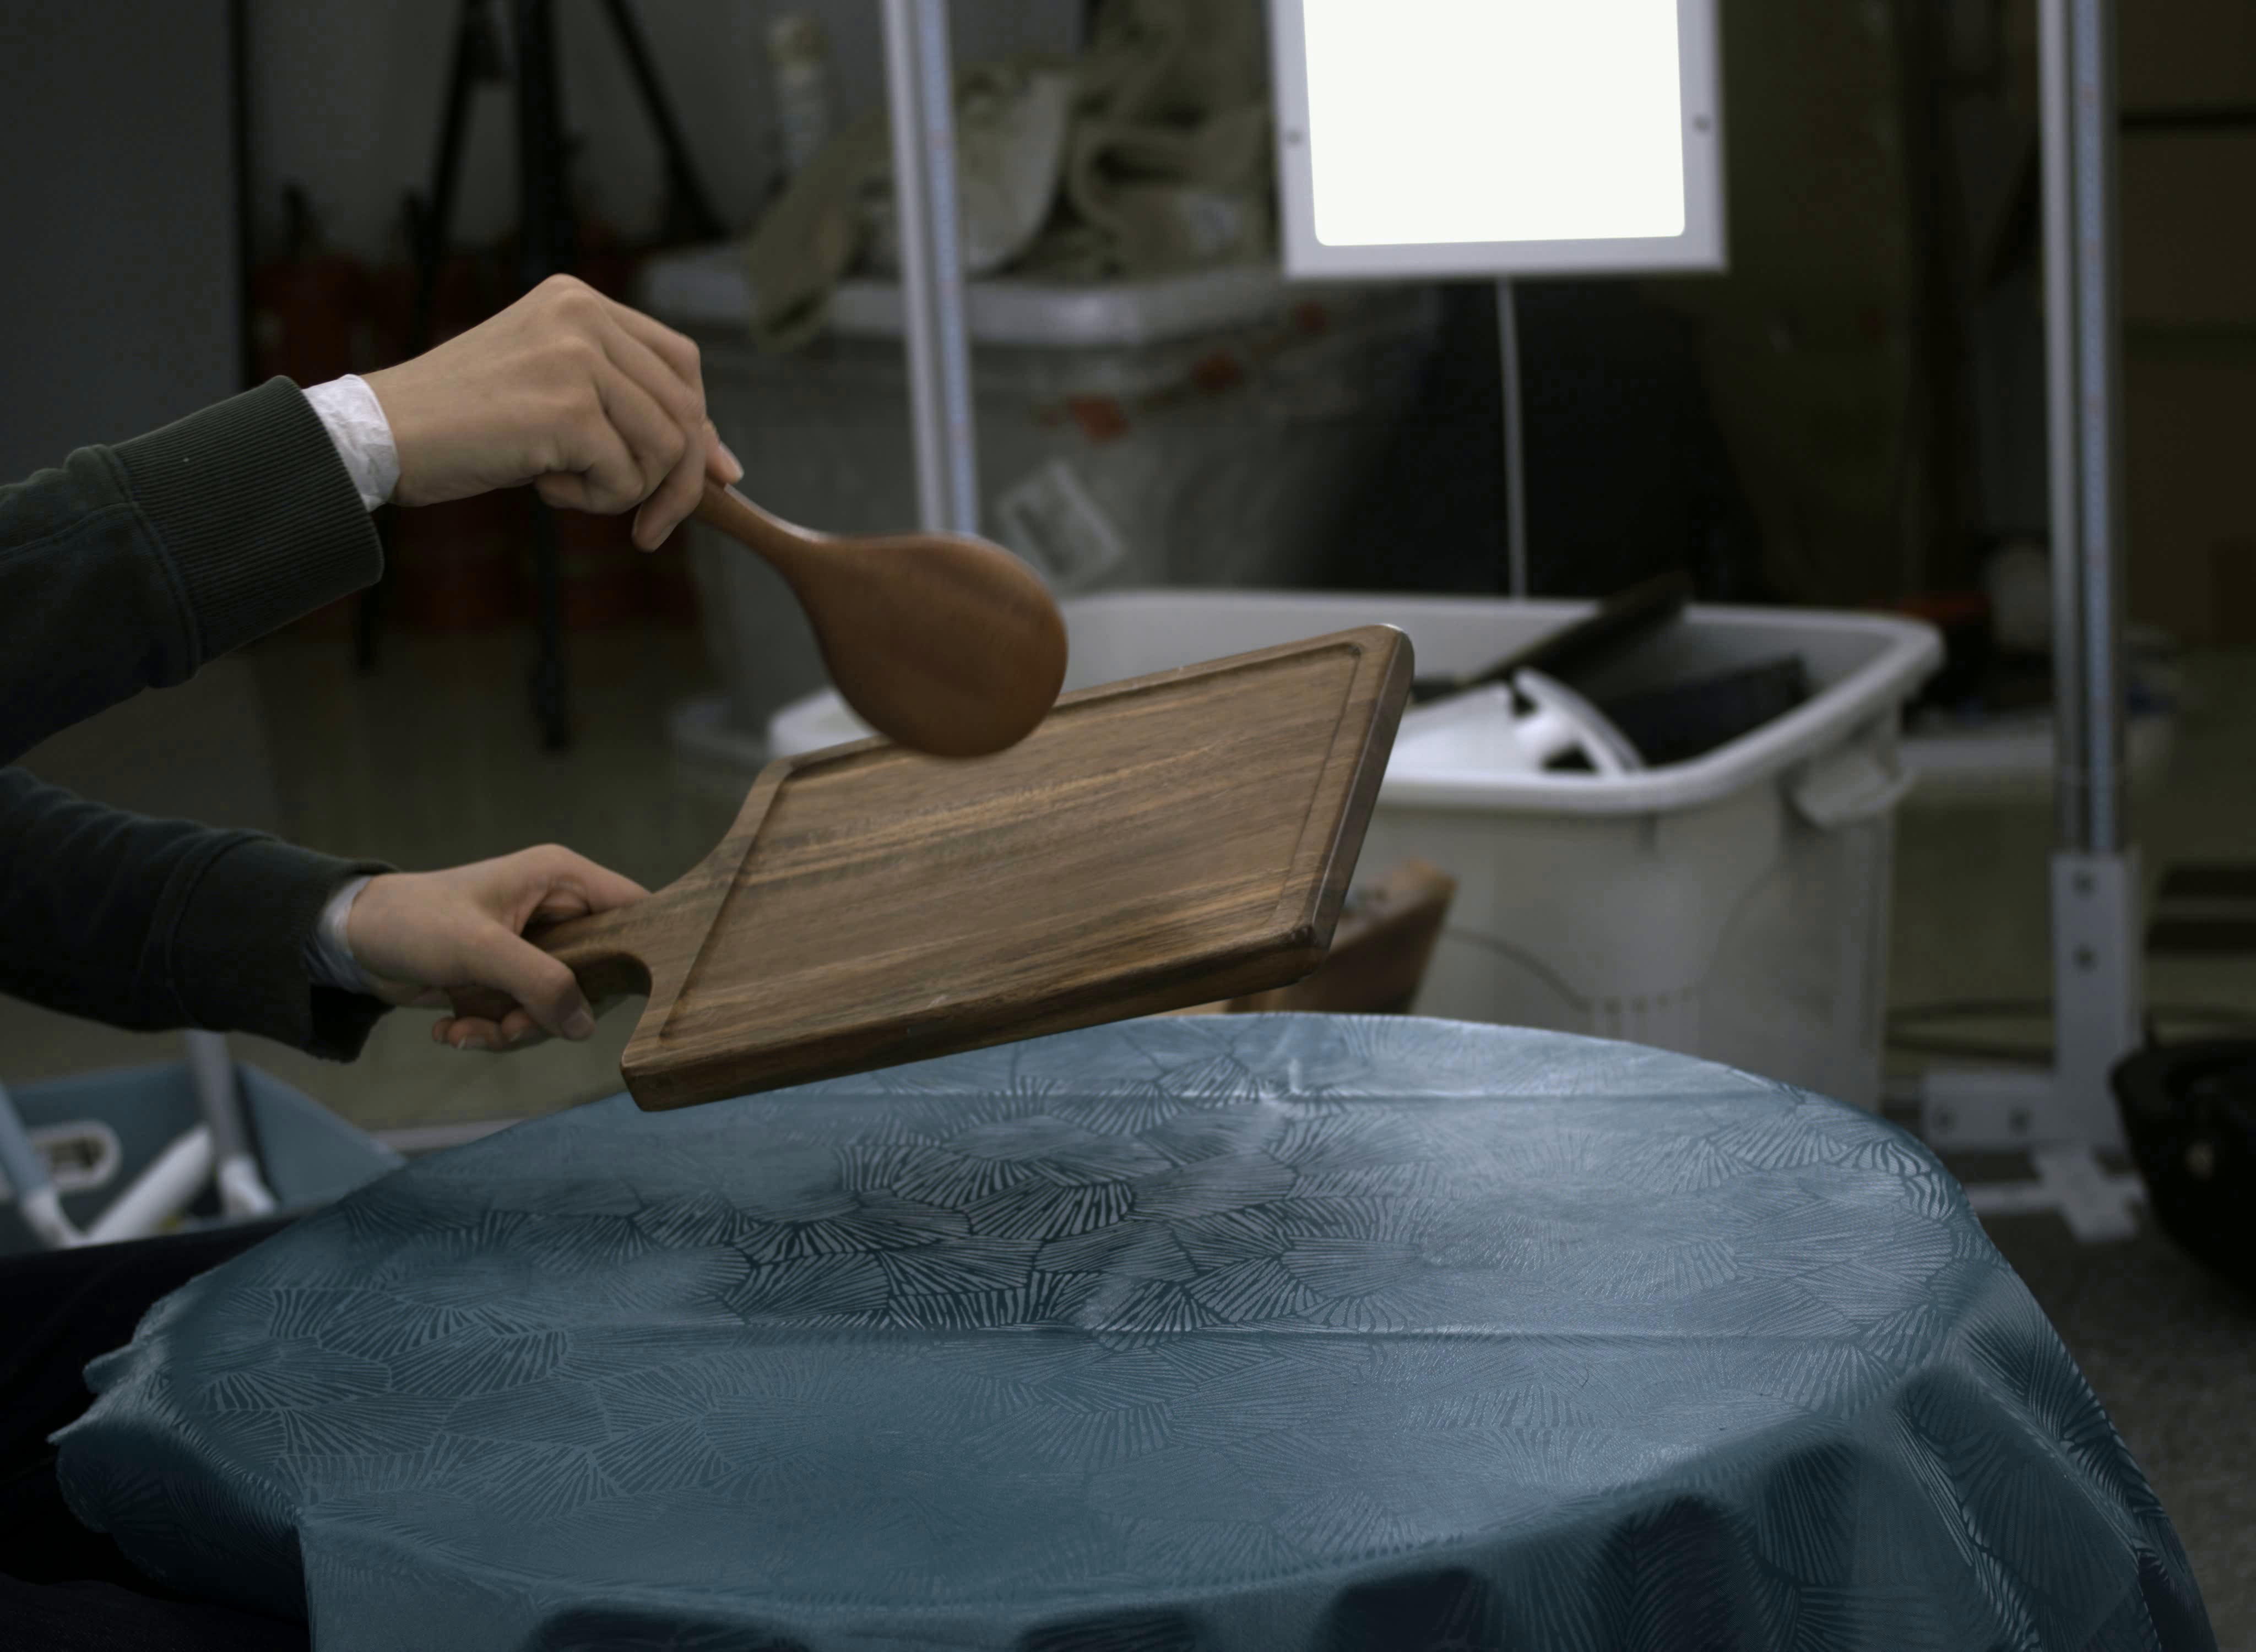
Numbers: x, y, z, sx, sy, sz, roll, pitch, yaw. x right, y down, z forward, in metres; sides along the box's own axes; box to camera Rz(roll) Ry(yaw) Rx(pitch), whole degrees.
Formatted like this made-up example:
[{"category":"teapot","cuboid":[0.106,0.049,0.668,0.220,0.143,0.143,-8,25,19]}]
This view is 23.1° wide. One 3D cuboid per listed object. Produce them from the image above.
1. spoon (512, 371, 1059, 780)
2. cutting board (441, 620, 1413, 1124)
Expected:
[{"category":"spoon","cuboid":[-0.109,-0.082,1.766,0.213,0.076,0.017,34,13,-25]},{"category":"cutting board","cuboid":[-0.079,0.024,1.883,0.358,0.023,0.198,-13,31,23]}]
